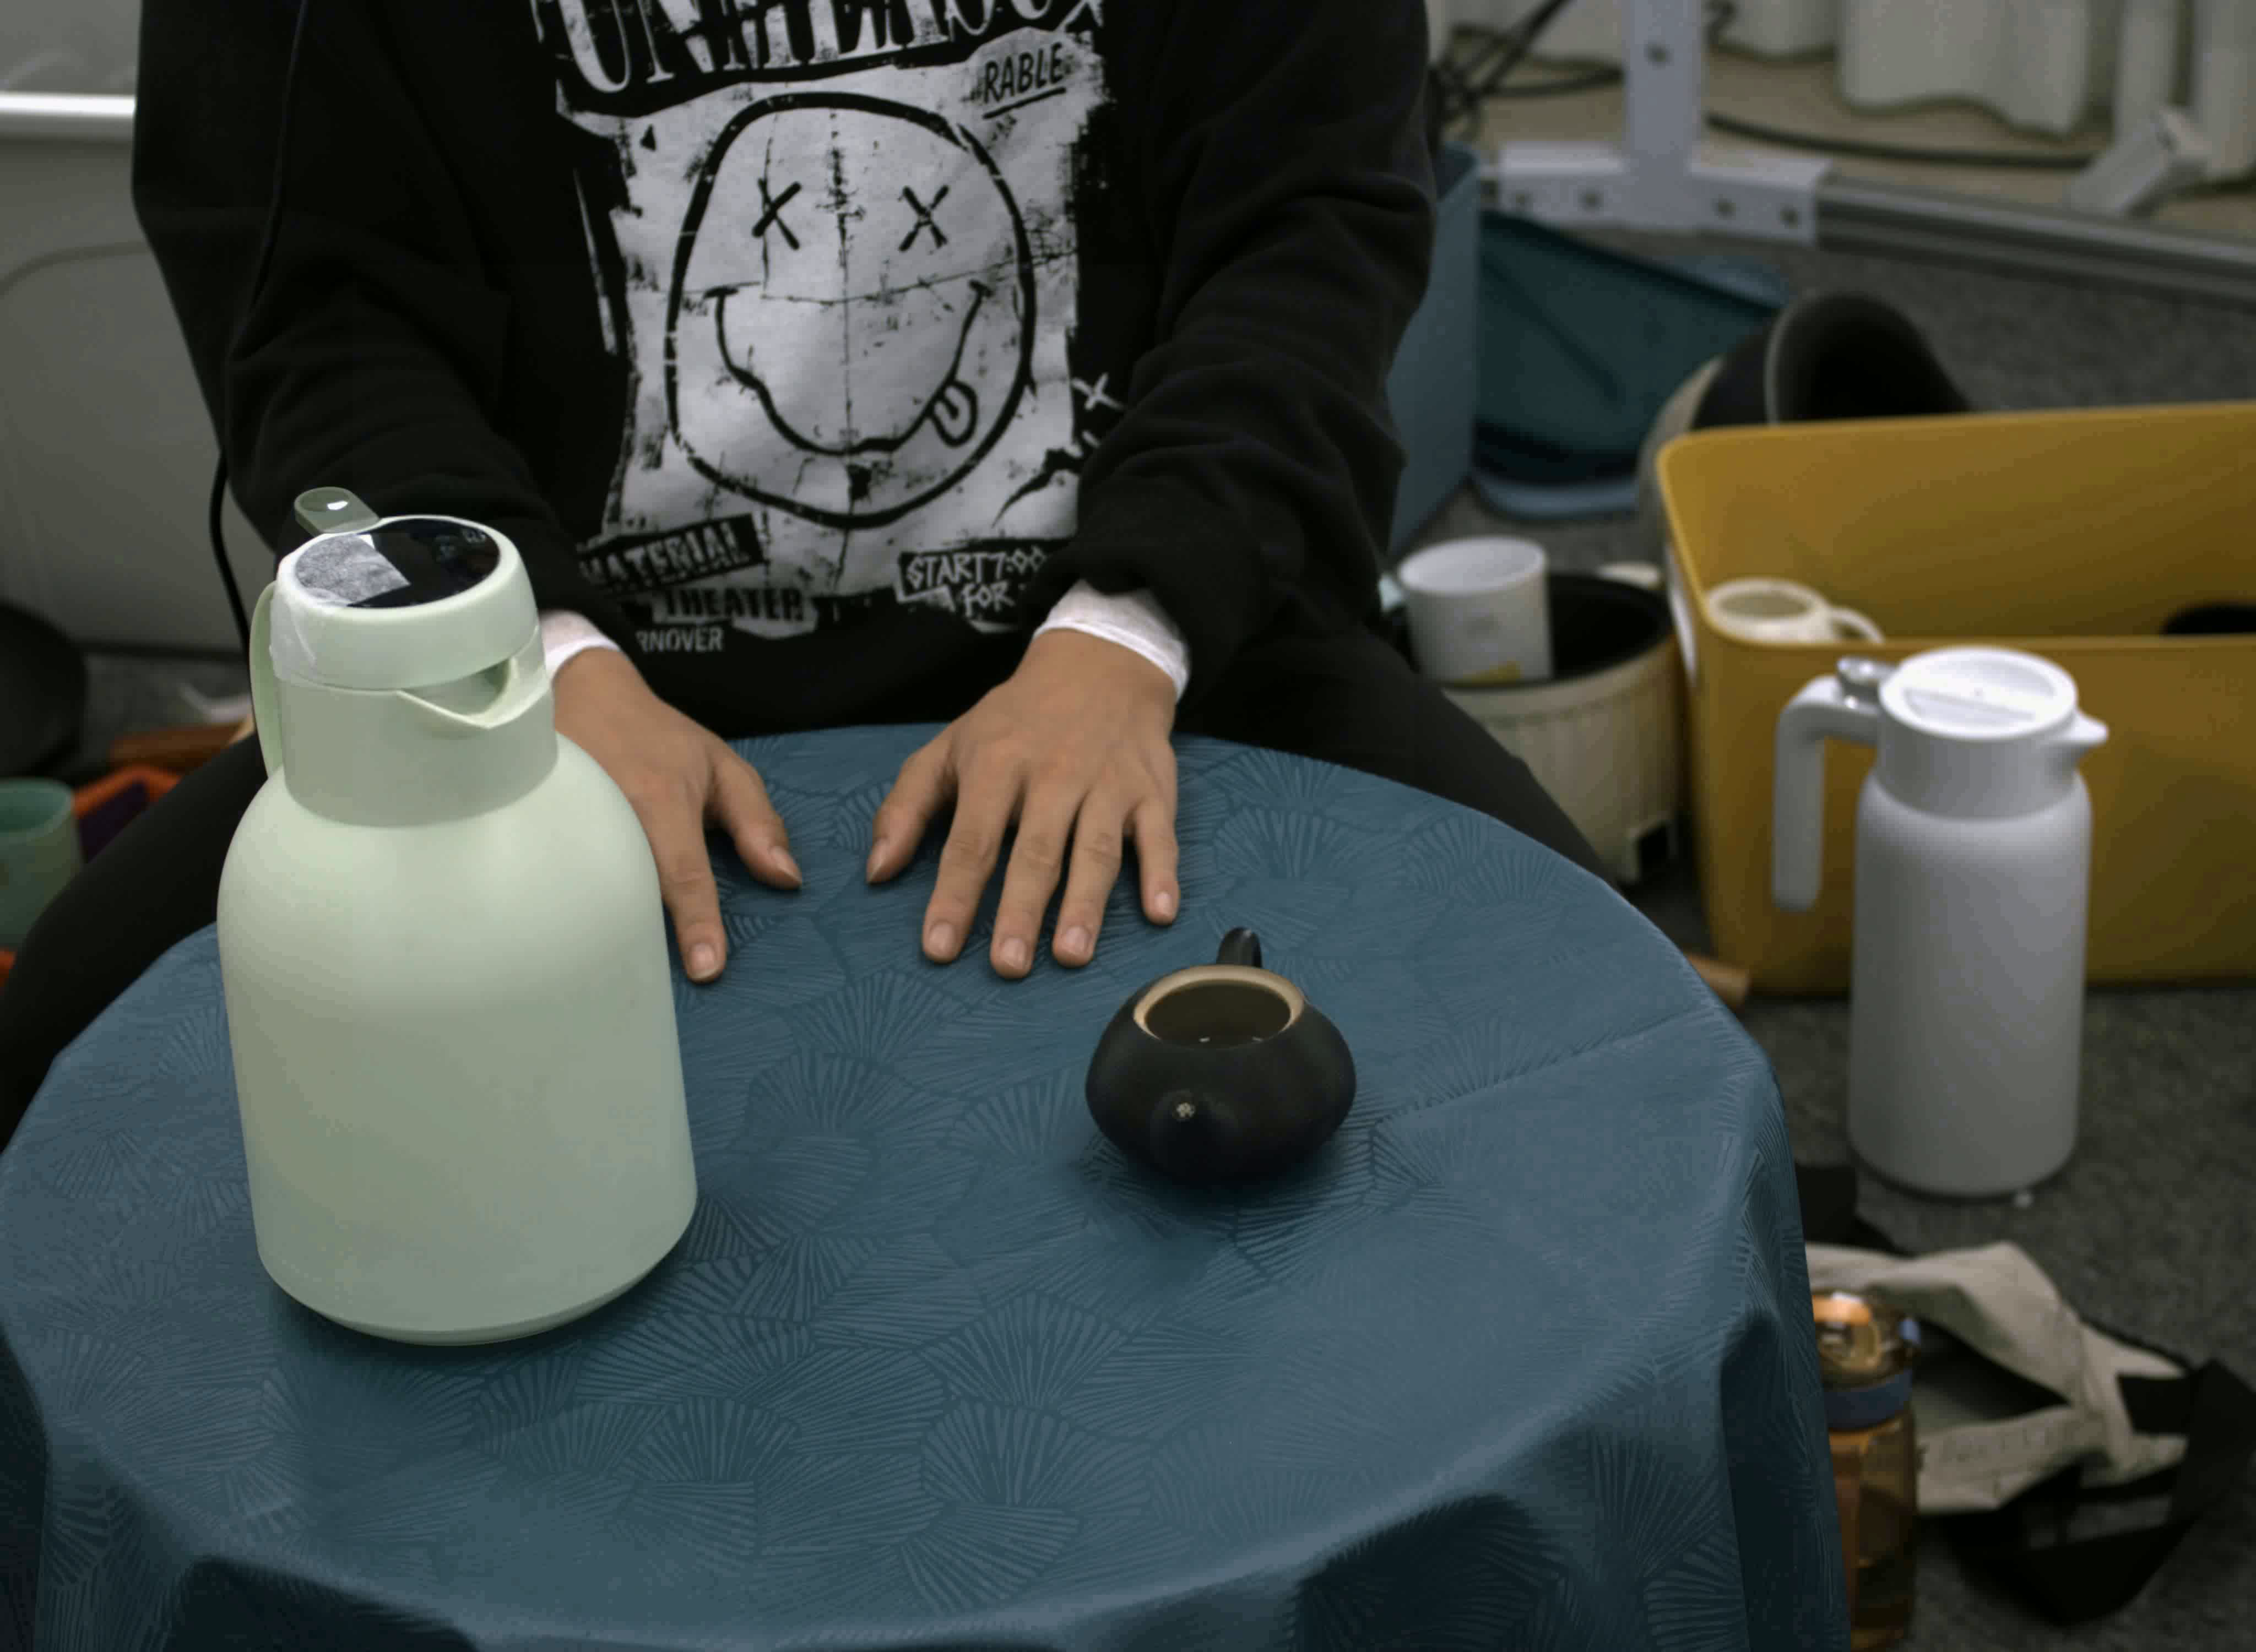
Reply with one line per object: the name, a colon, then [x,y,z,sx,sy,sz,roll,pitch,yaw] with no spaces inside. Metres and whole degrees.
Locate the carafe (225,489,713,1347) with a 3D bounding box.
carafe: [-0.224,0.023,1.803,0.145,0.254,0.187,-19,27,-26]

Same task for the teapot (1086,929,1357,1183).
teapot: [0.031,0.083,1.873,0.090,0.052,0.135,4,28,9]
